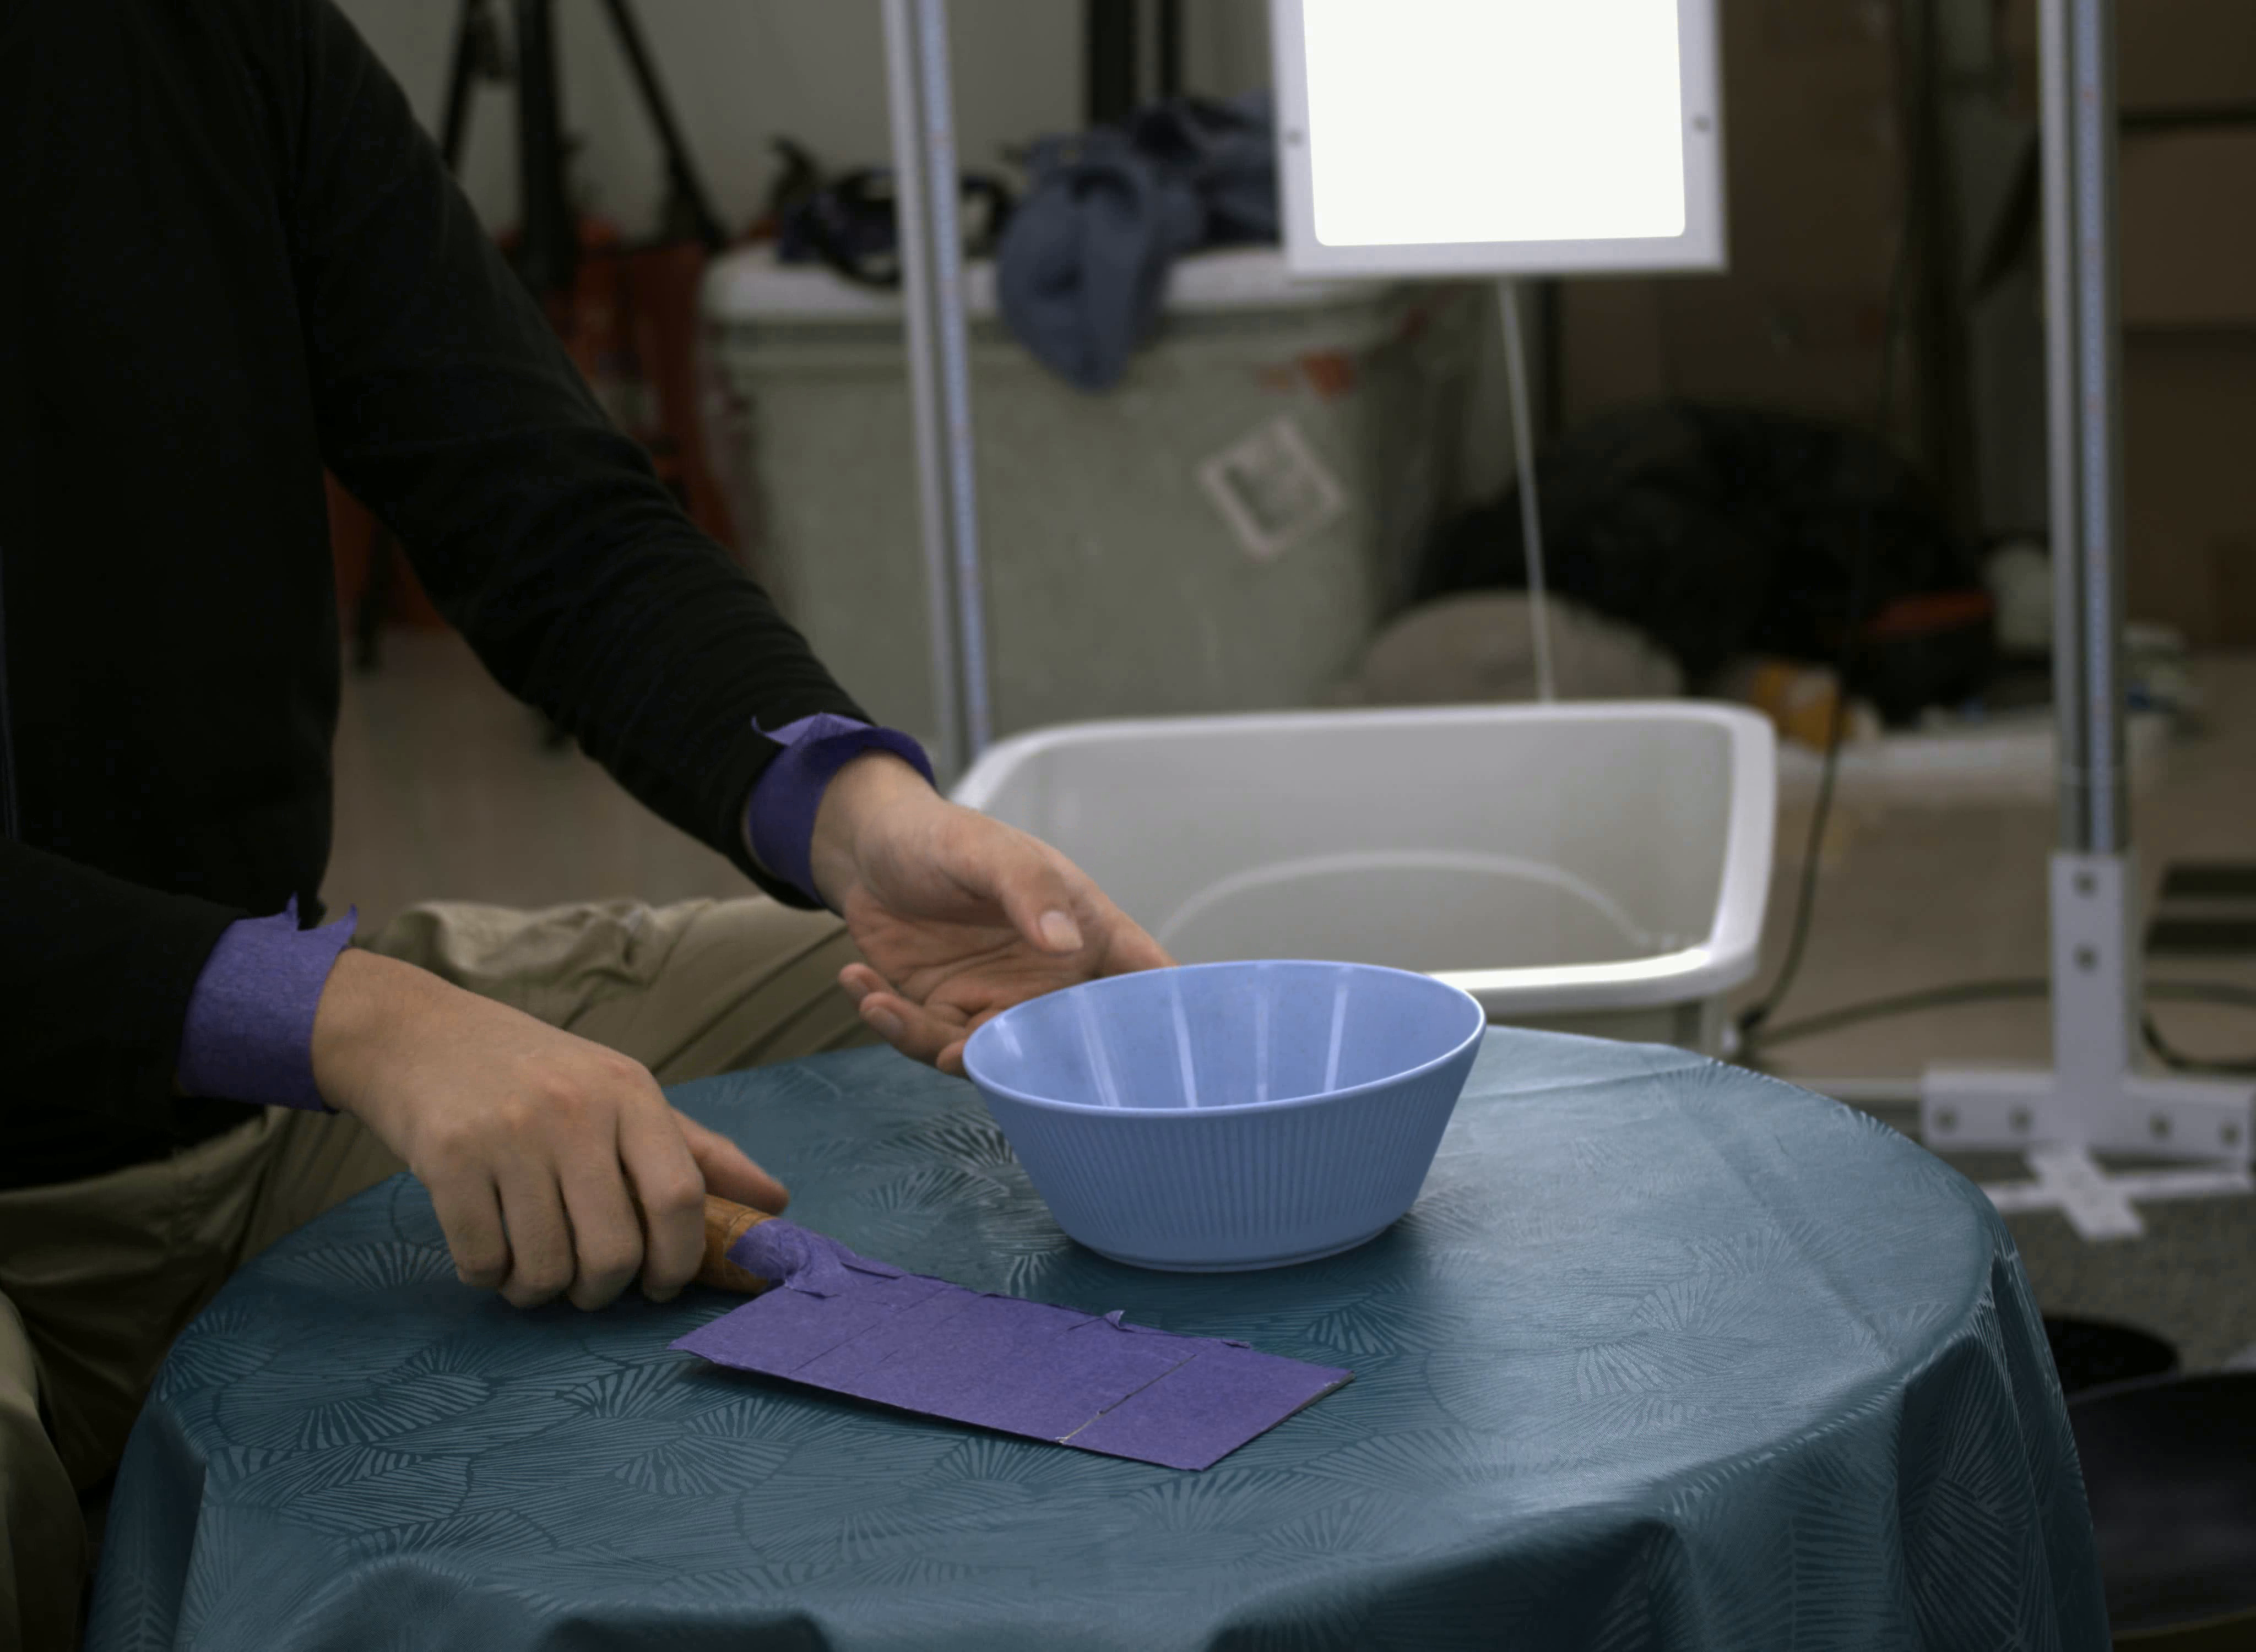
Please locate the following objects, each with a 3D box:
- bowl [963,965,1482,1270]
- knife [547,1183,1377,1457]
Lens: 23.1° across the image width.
[{"bbox_3d":[0.034,0.100,1.845,0.175,0.070,0.176,-5,13,0],"label":"bowl"},{"bbox_3d":[-0.077,0.156,1.753,0.322,0.032,0.101,6,17,36],"label":"knife"}]
